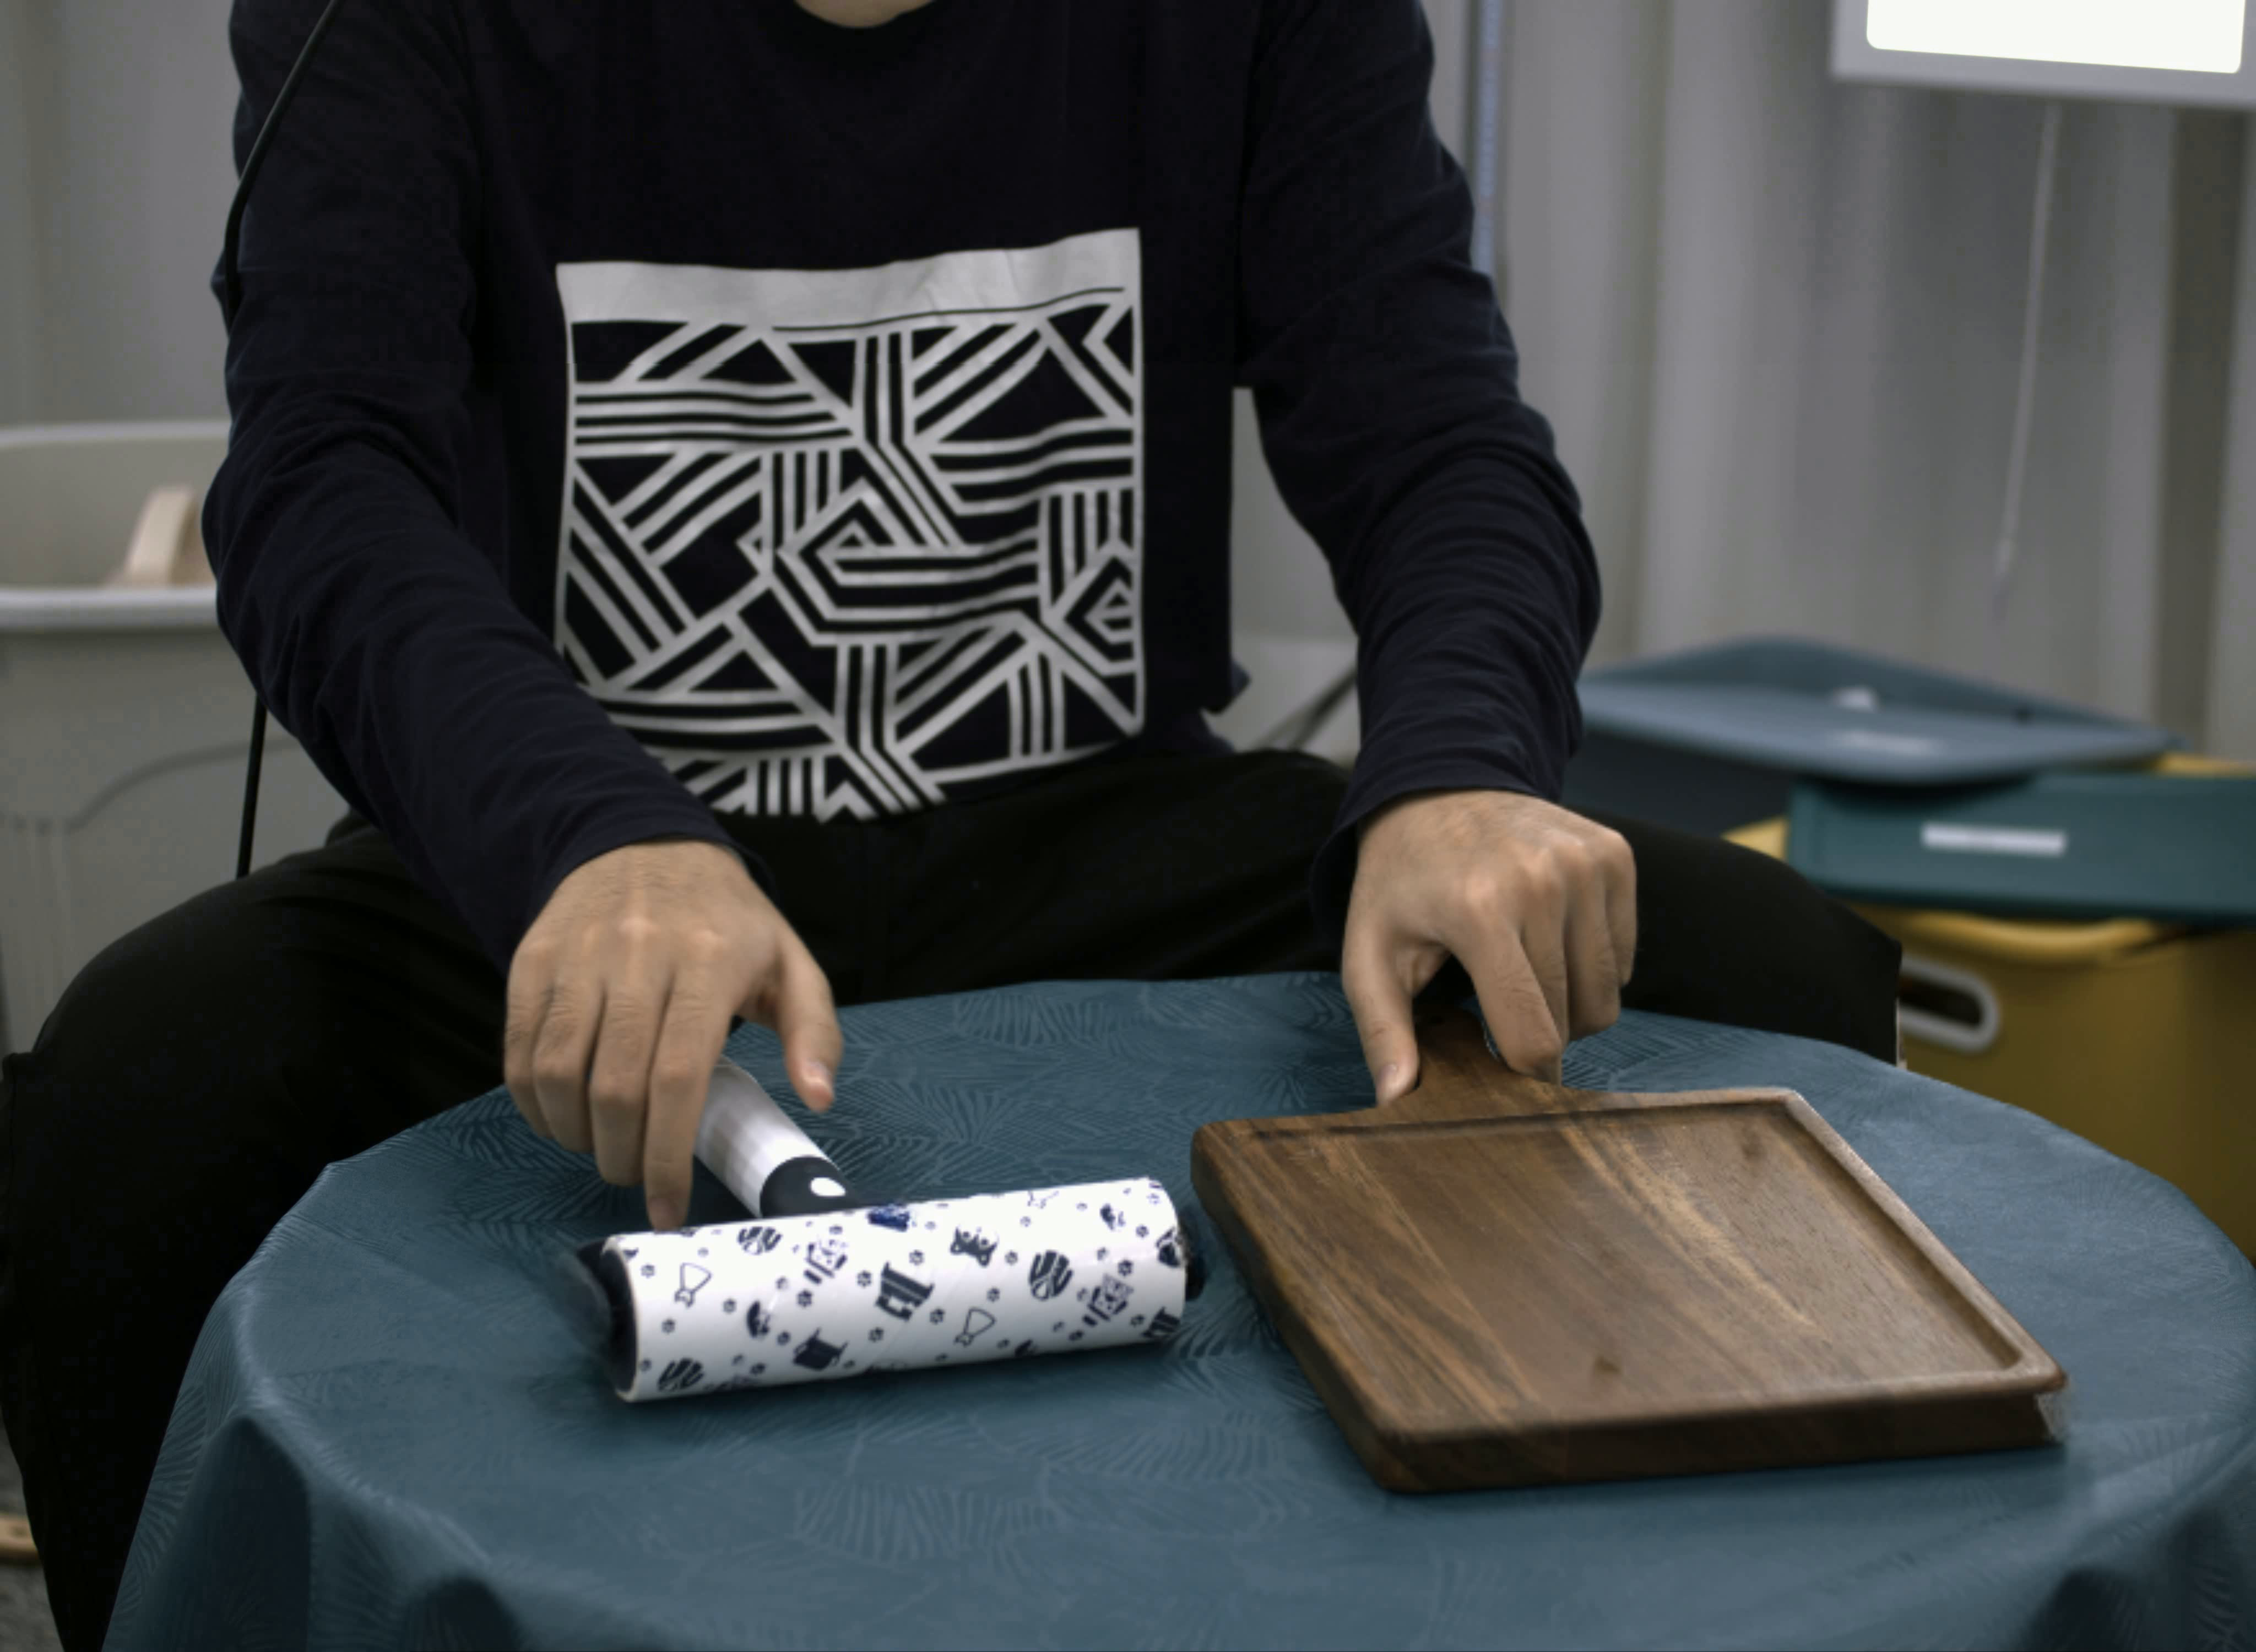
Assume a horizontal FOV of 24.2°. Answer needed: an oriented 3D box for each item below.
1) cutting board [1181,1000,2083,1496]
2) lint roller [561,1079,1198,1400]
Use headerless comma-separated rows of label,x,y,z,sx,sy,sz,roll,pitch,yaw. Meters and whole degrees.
cutting board,0.128,0.115,1.566,0.201,0.023,0.349,-3,17,-12
lint roller,-0.102,0.107,1.564,0.177,0.051,0.244,-6,14,-19
